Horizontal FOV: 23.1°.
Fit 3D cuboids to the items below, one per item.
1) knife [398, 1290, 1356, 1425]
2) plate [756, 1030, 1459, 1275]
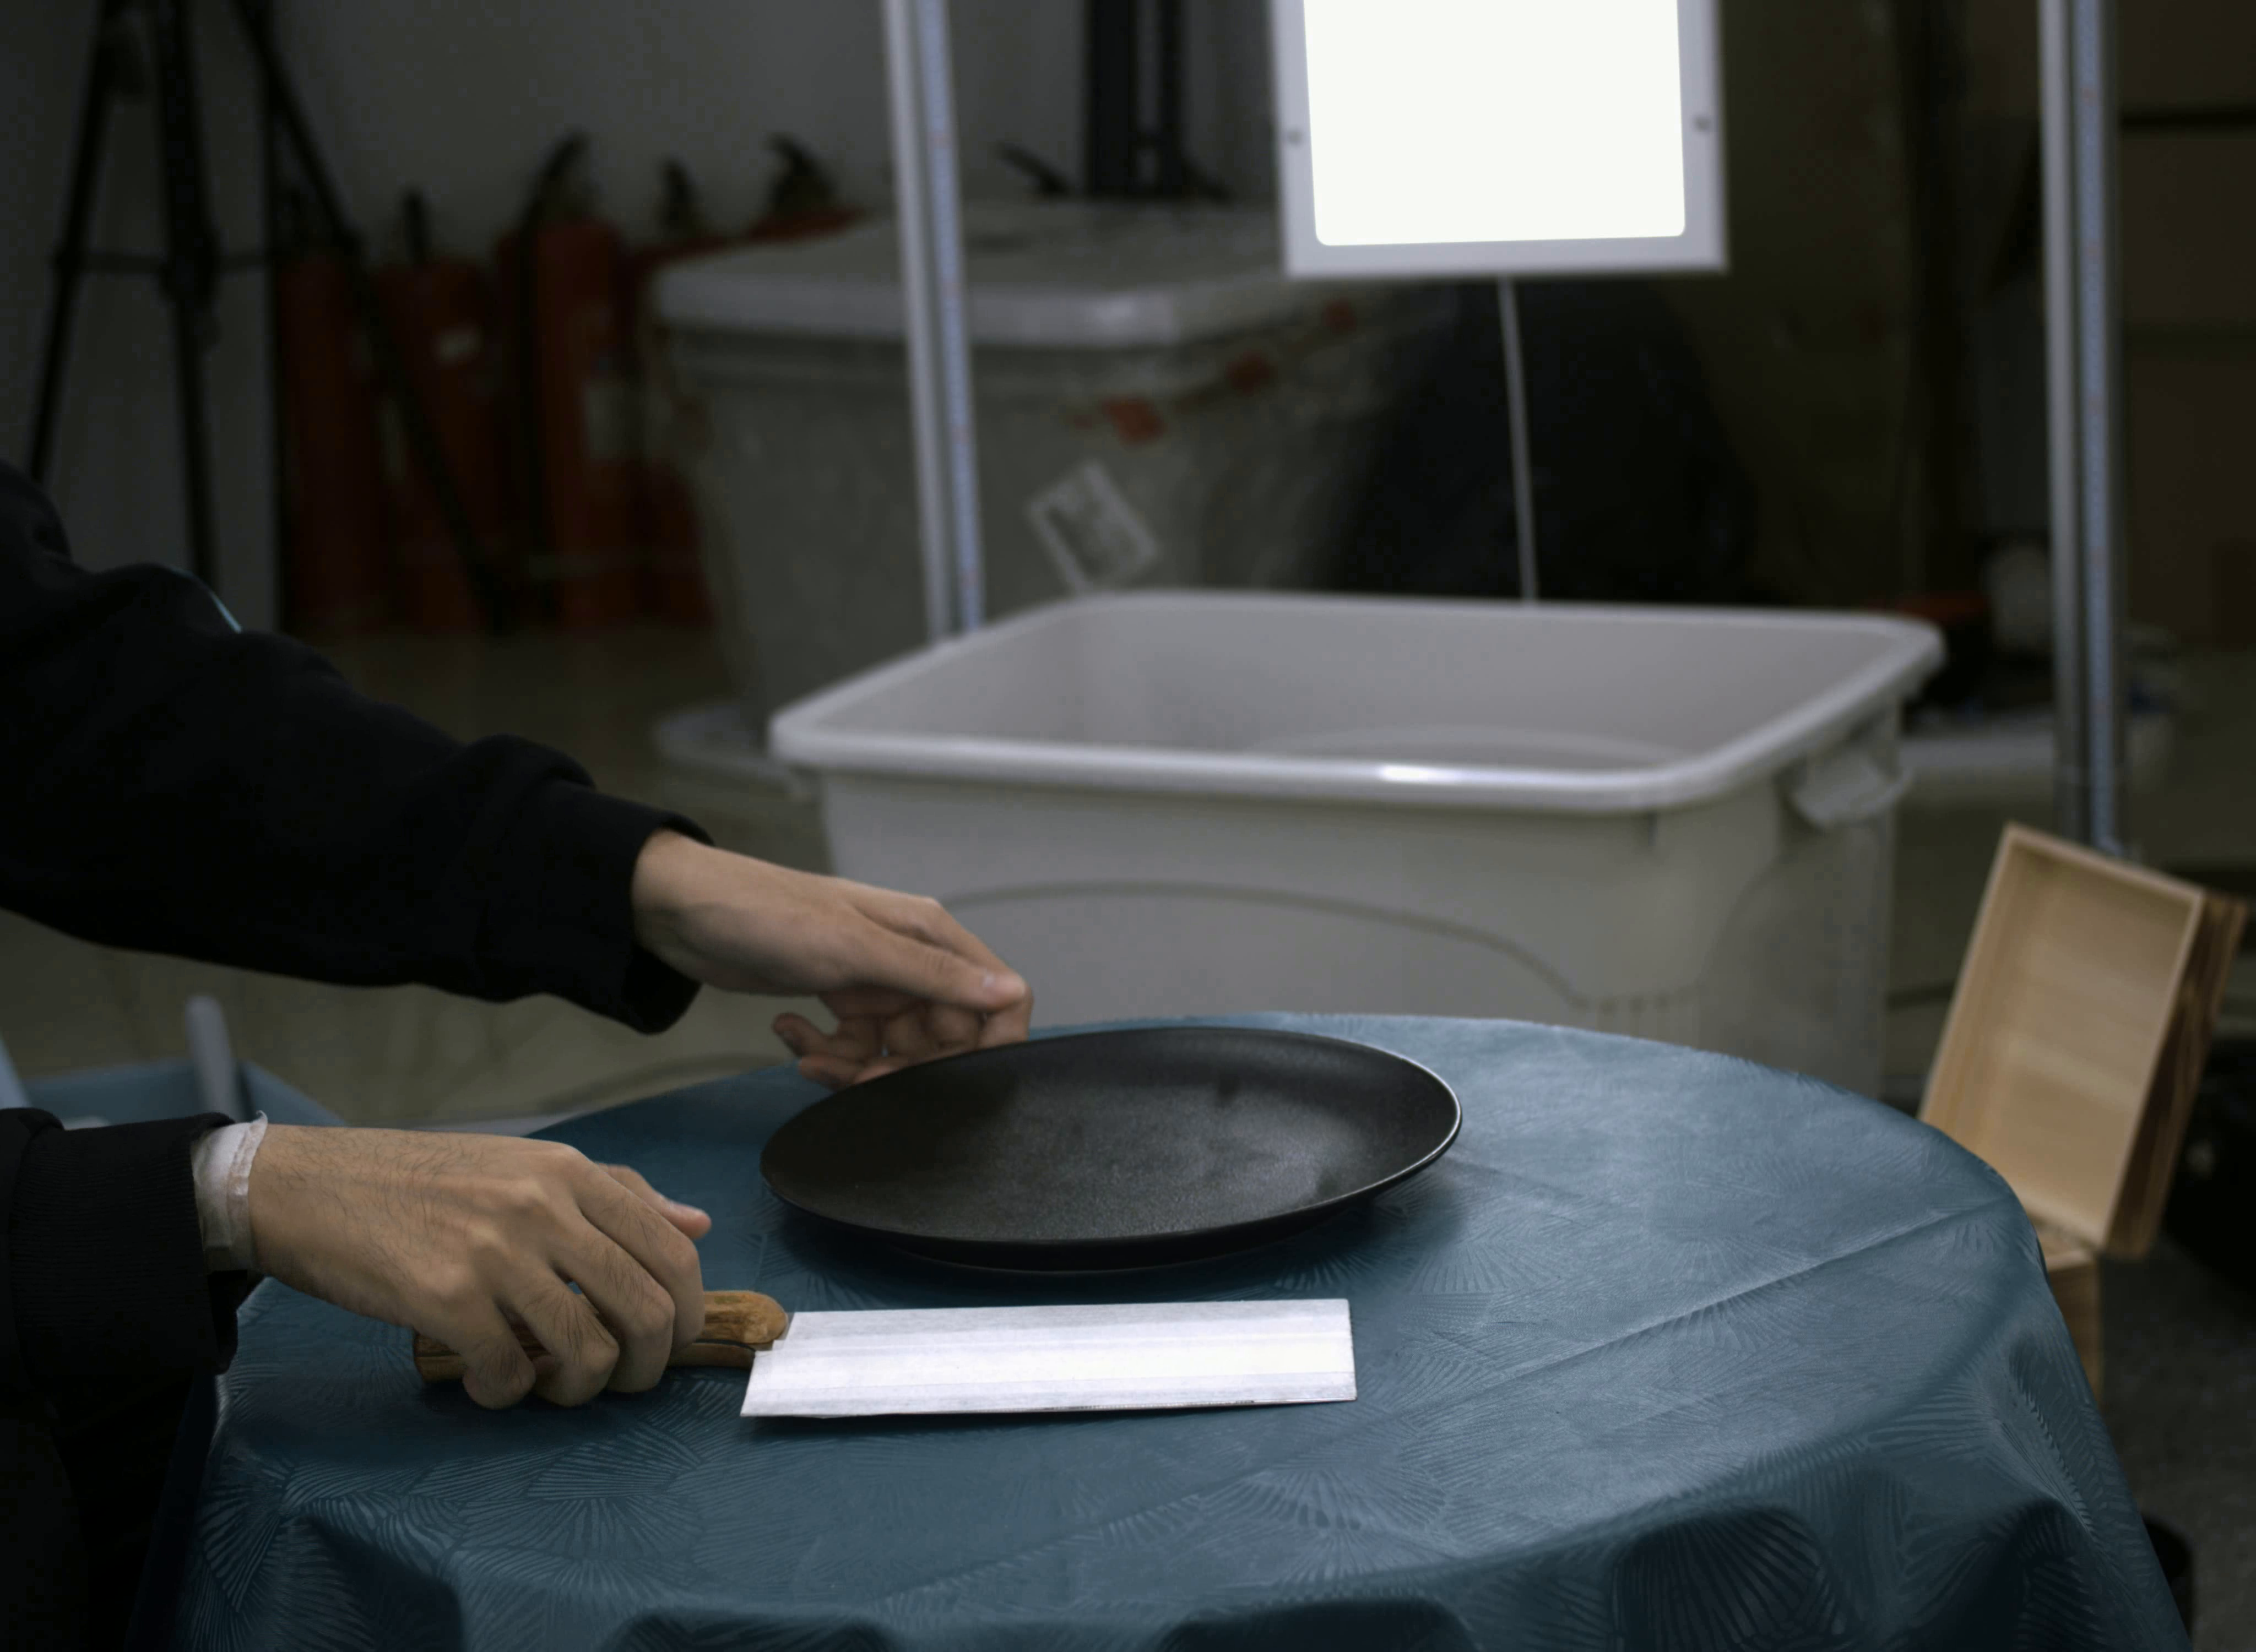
[{"bbox_3d":[-0.081,0.167,1.729,0.306,0.021,0.092,-2,15,4],"label":"knife"},{"bbox_3d":[-0.006,0.115,1.897,0.244,0.023,0.244,-5,14,0],"label":"plate"}]
